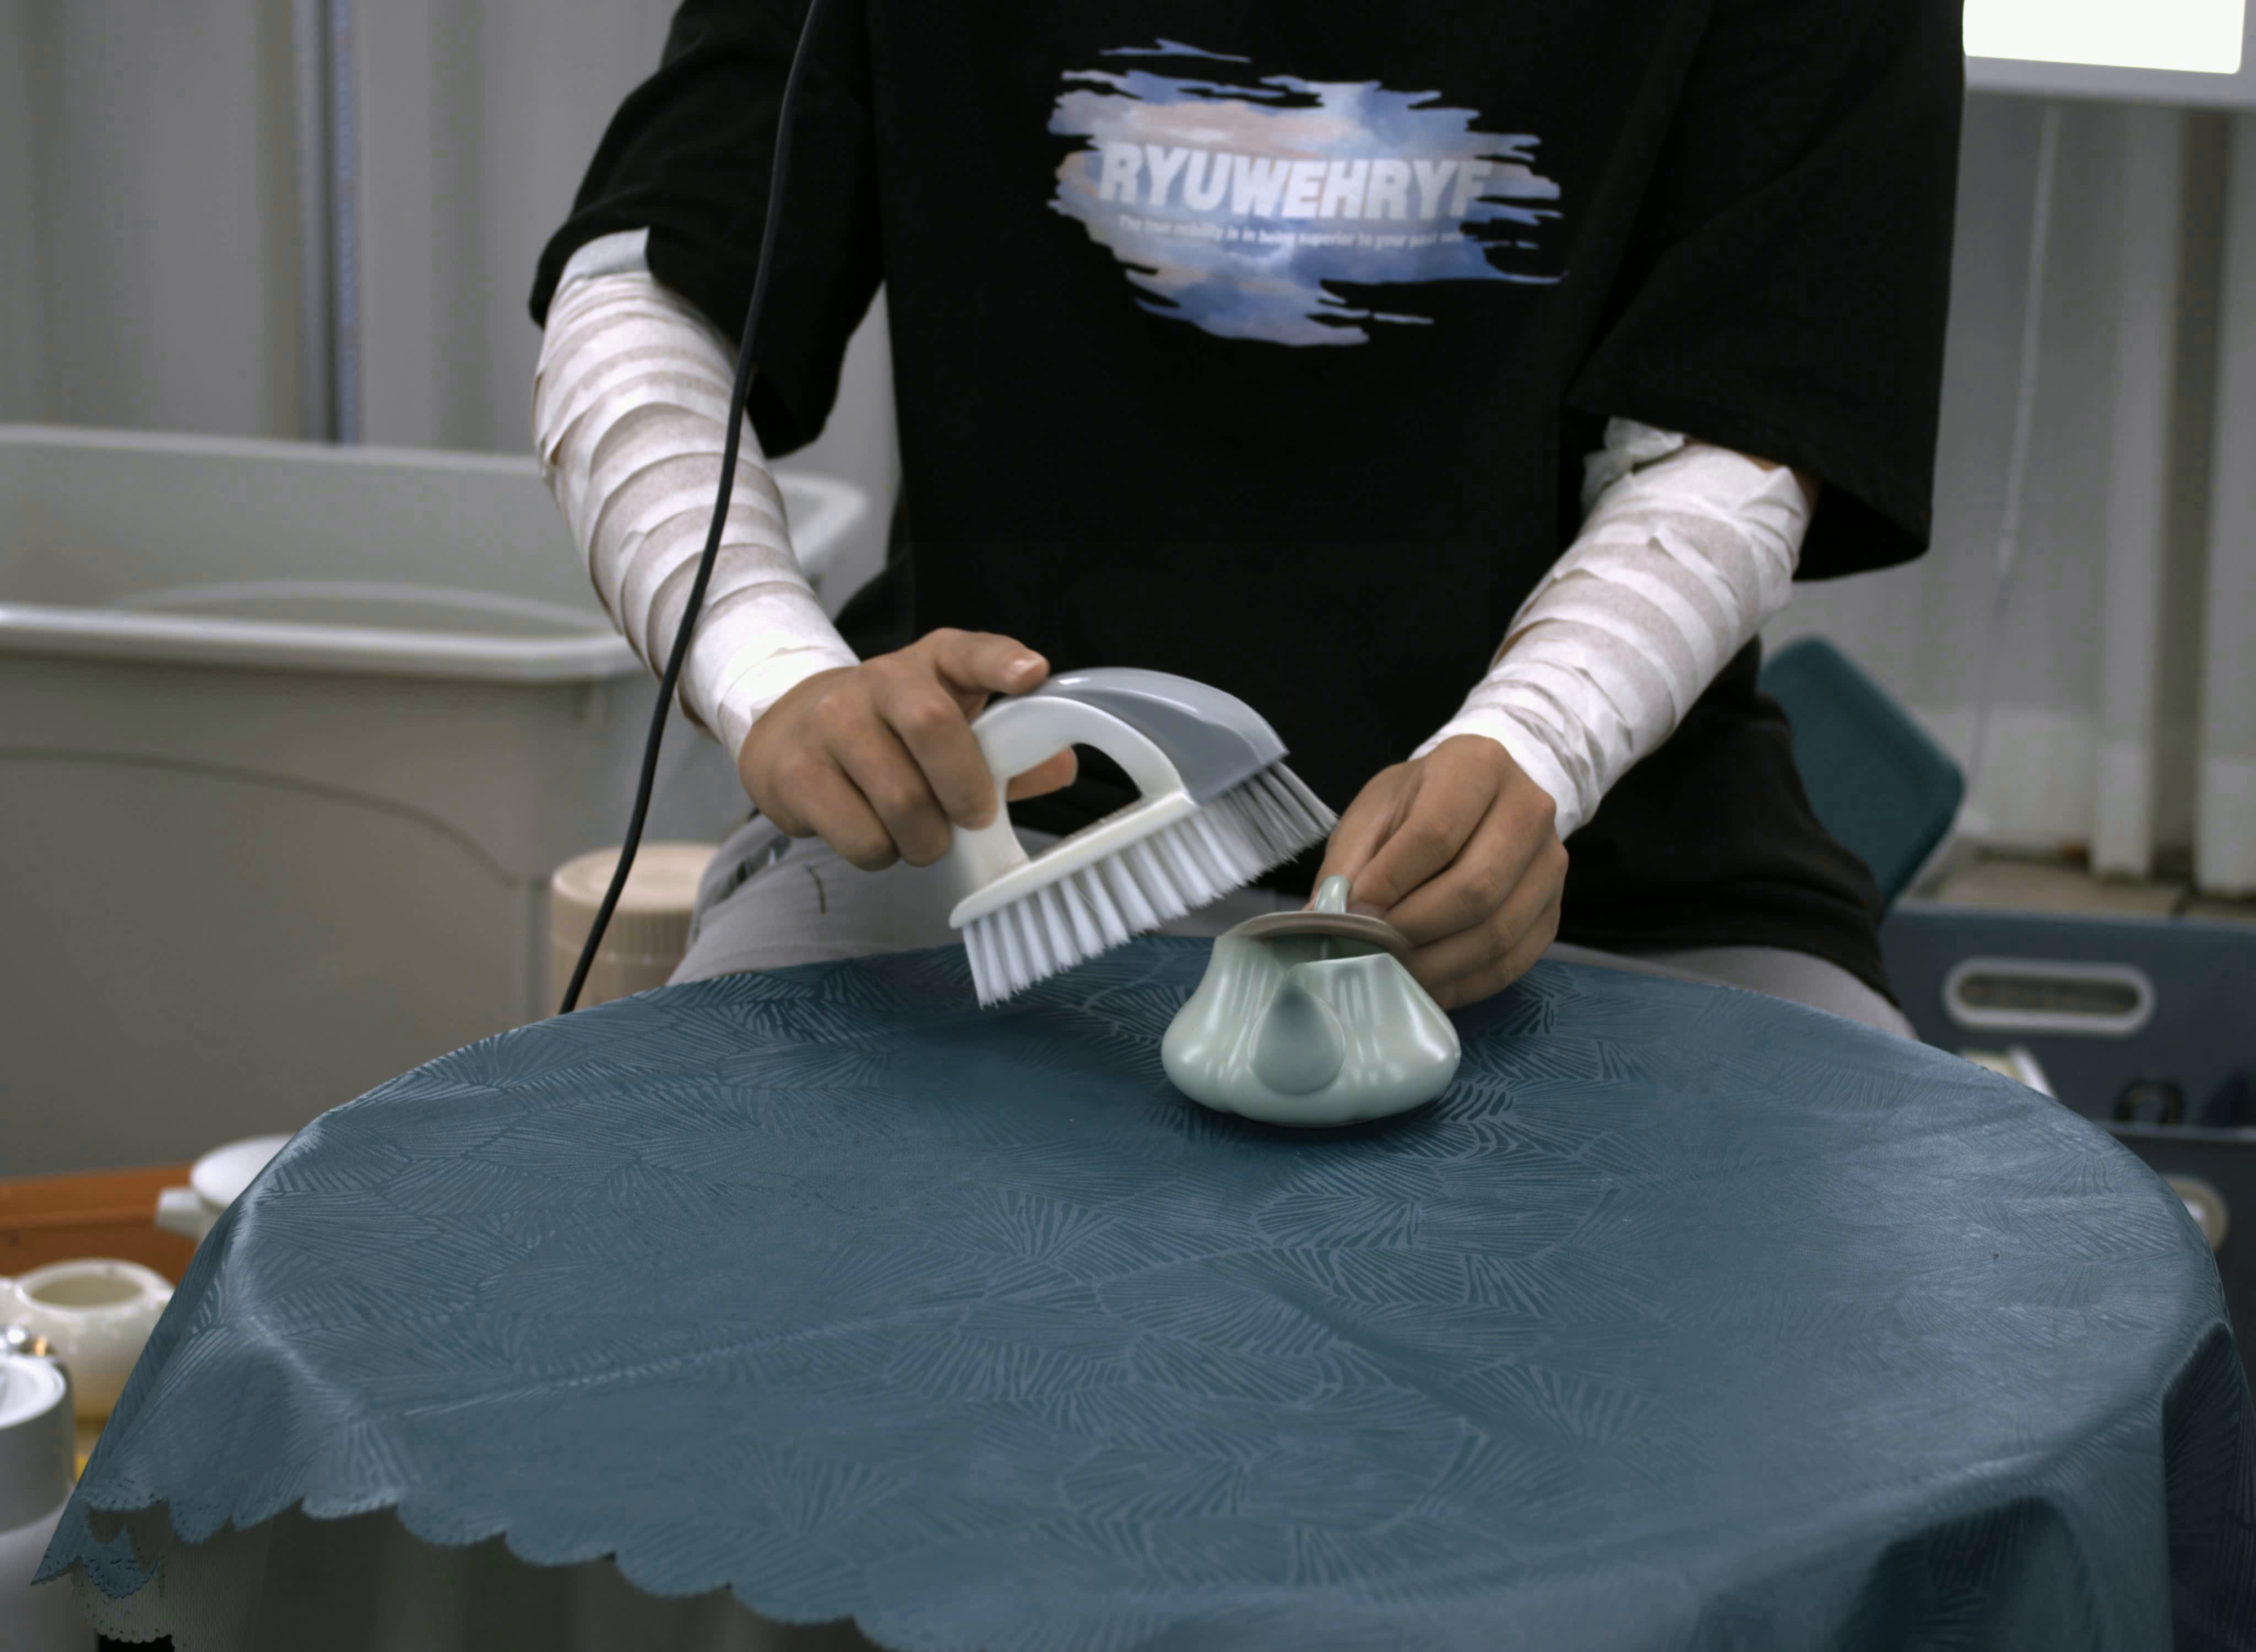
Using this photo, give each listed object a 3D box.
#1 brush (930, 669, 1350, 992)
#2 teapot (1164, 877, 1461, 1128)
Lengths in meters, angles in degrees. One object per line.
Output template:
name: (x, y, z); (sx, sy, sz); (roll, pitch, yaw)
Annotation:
brush: (-0.002, -0.010, 1.735); (0.061, 0.095, 0.174); (-36, 9, -40)
teapot: (0.060, 0.060, 1.704); (0.095, 0.062, 0.136); (0, 15, 7)
